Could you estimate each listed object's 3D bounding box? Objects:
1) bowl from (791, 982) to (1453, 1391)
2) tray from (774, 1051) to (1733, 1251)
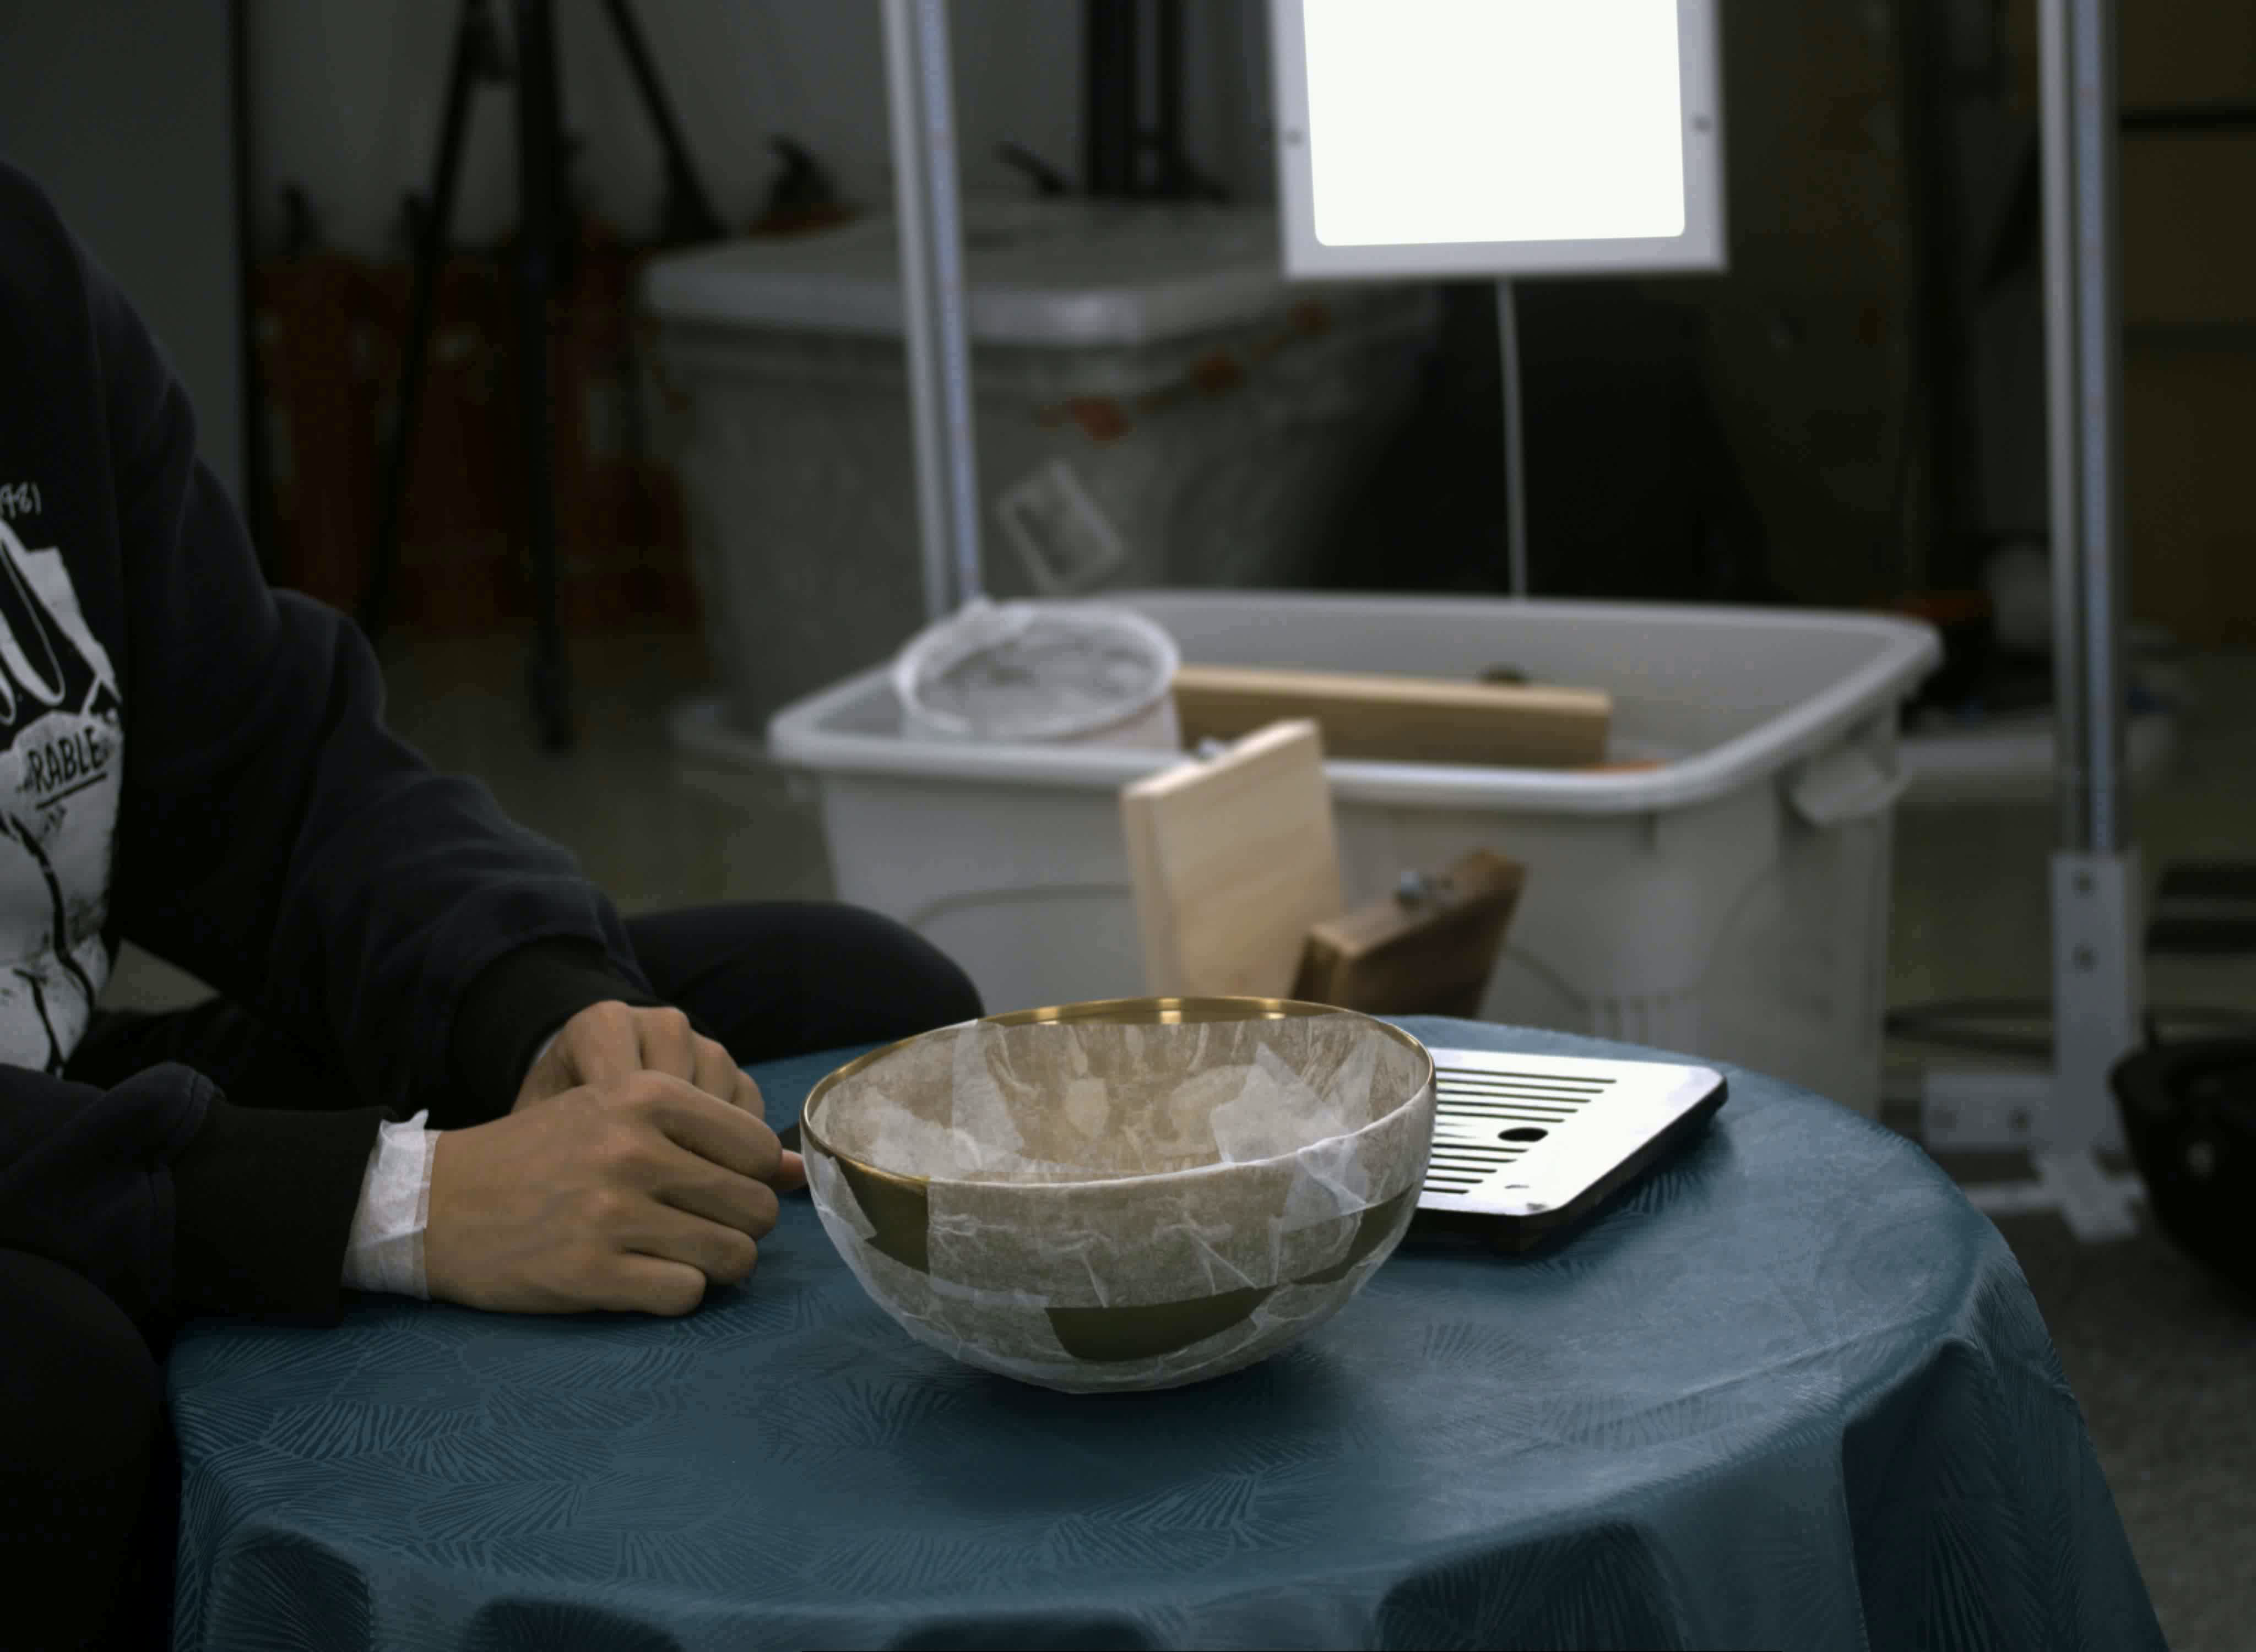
[{"bbox_3d":[0.001,0.120,1.724,0.214,0.095,0.214,-6,15,0],"label":"bowl"},{"bbox_3d":[0.044,0.106,1.927,0.311,0.019,0.166,3,15,30],"label":"tray"}]
